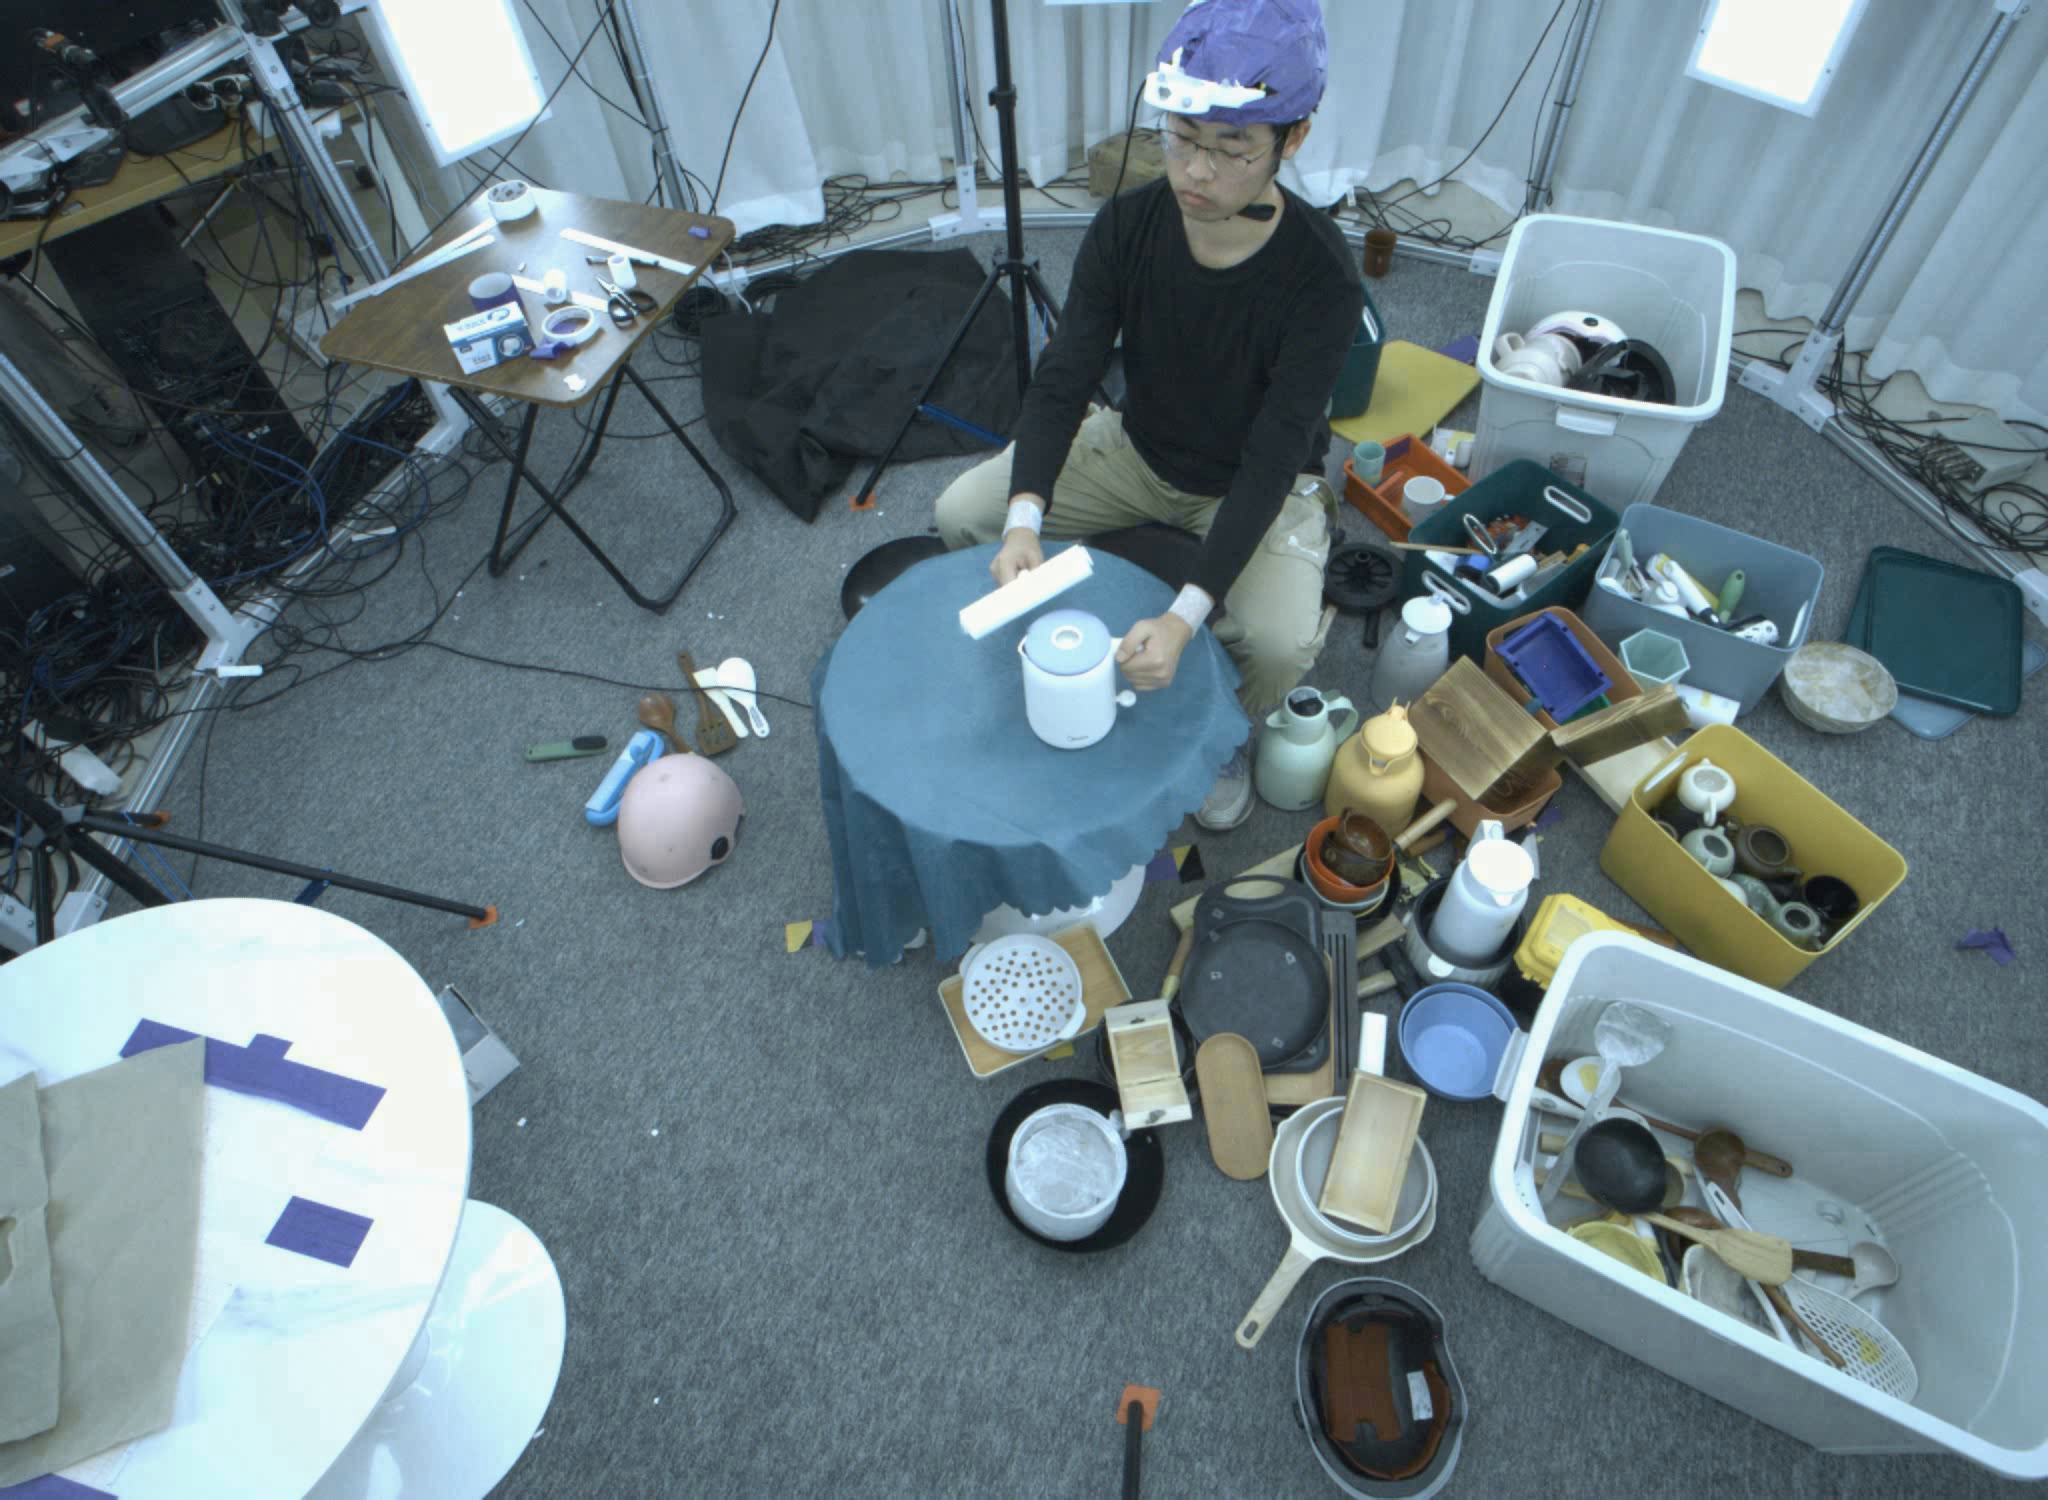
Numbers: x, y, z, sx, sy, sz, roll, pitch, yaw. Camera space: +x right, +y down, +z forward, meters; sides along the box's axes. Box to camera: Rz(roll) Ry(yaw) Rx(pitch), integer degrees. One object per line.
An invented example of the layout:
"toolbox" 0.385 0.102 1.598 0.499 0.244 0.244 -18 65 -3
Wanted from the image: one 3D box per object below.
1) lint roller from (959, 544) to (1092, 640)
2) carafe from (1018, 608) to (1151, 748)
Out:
"lint roller" -0.003 -0.251 1.791 0.202 0.049 0.223 -29 21 7
"carafe" 0.088 -0.105 1.753 0.192 0.184 0.130 -8 55 -5
